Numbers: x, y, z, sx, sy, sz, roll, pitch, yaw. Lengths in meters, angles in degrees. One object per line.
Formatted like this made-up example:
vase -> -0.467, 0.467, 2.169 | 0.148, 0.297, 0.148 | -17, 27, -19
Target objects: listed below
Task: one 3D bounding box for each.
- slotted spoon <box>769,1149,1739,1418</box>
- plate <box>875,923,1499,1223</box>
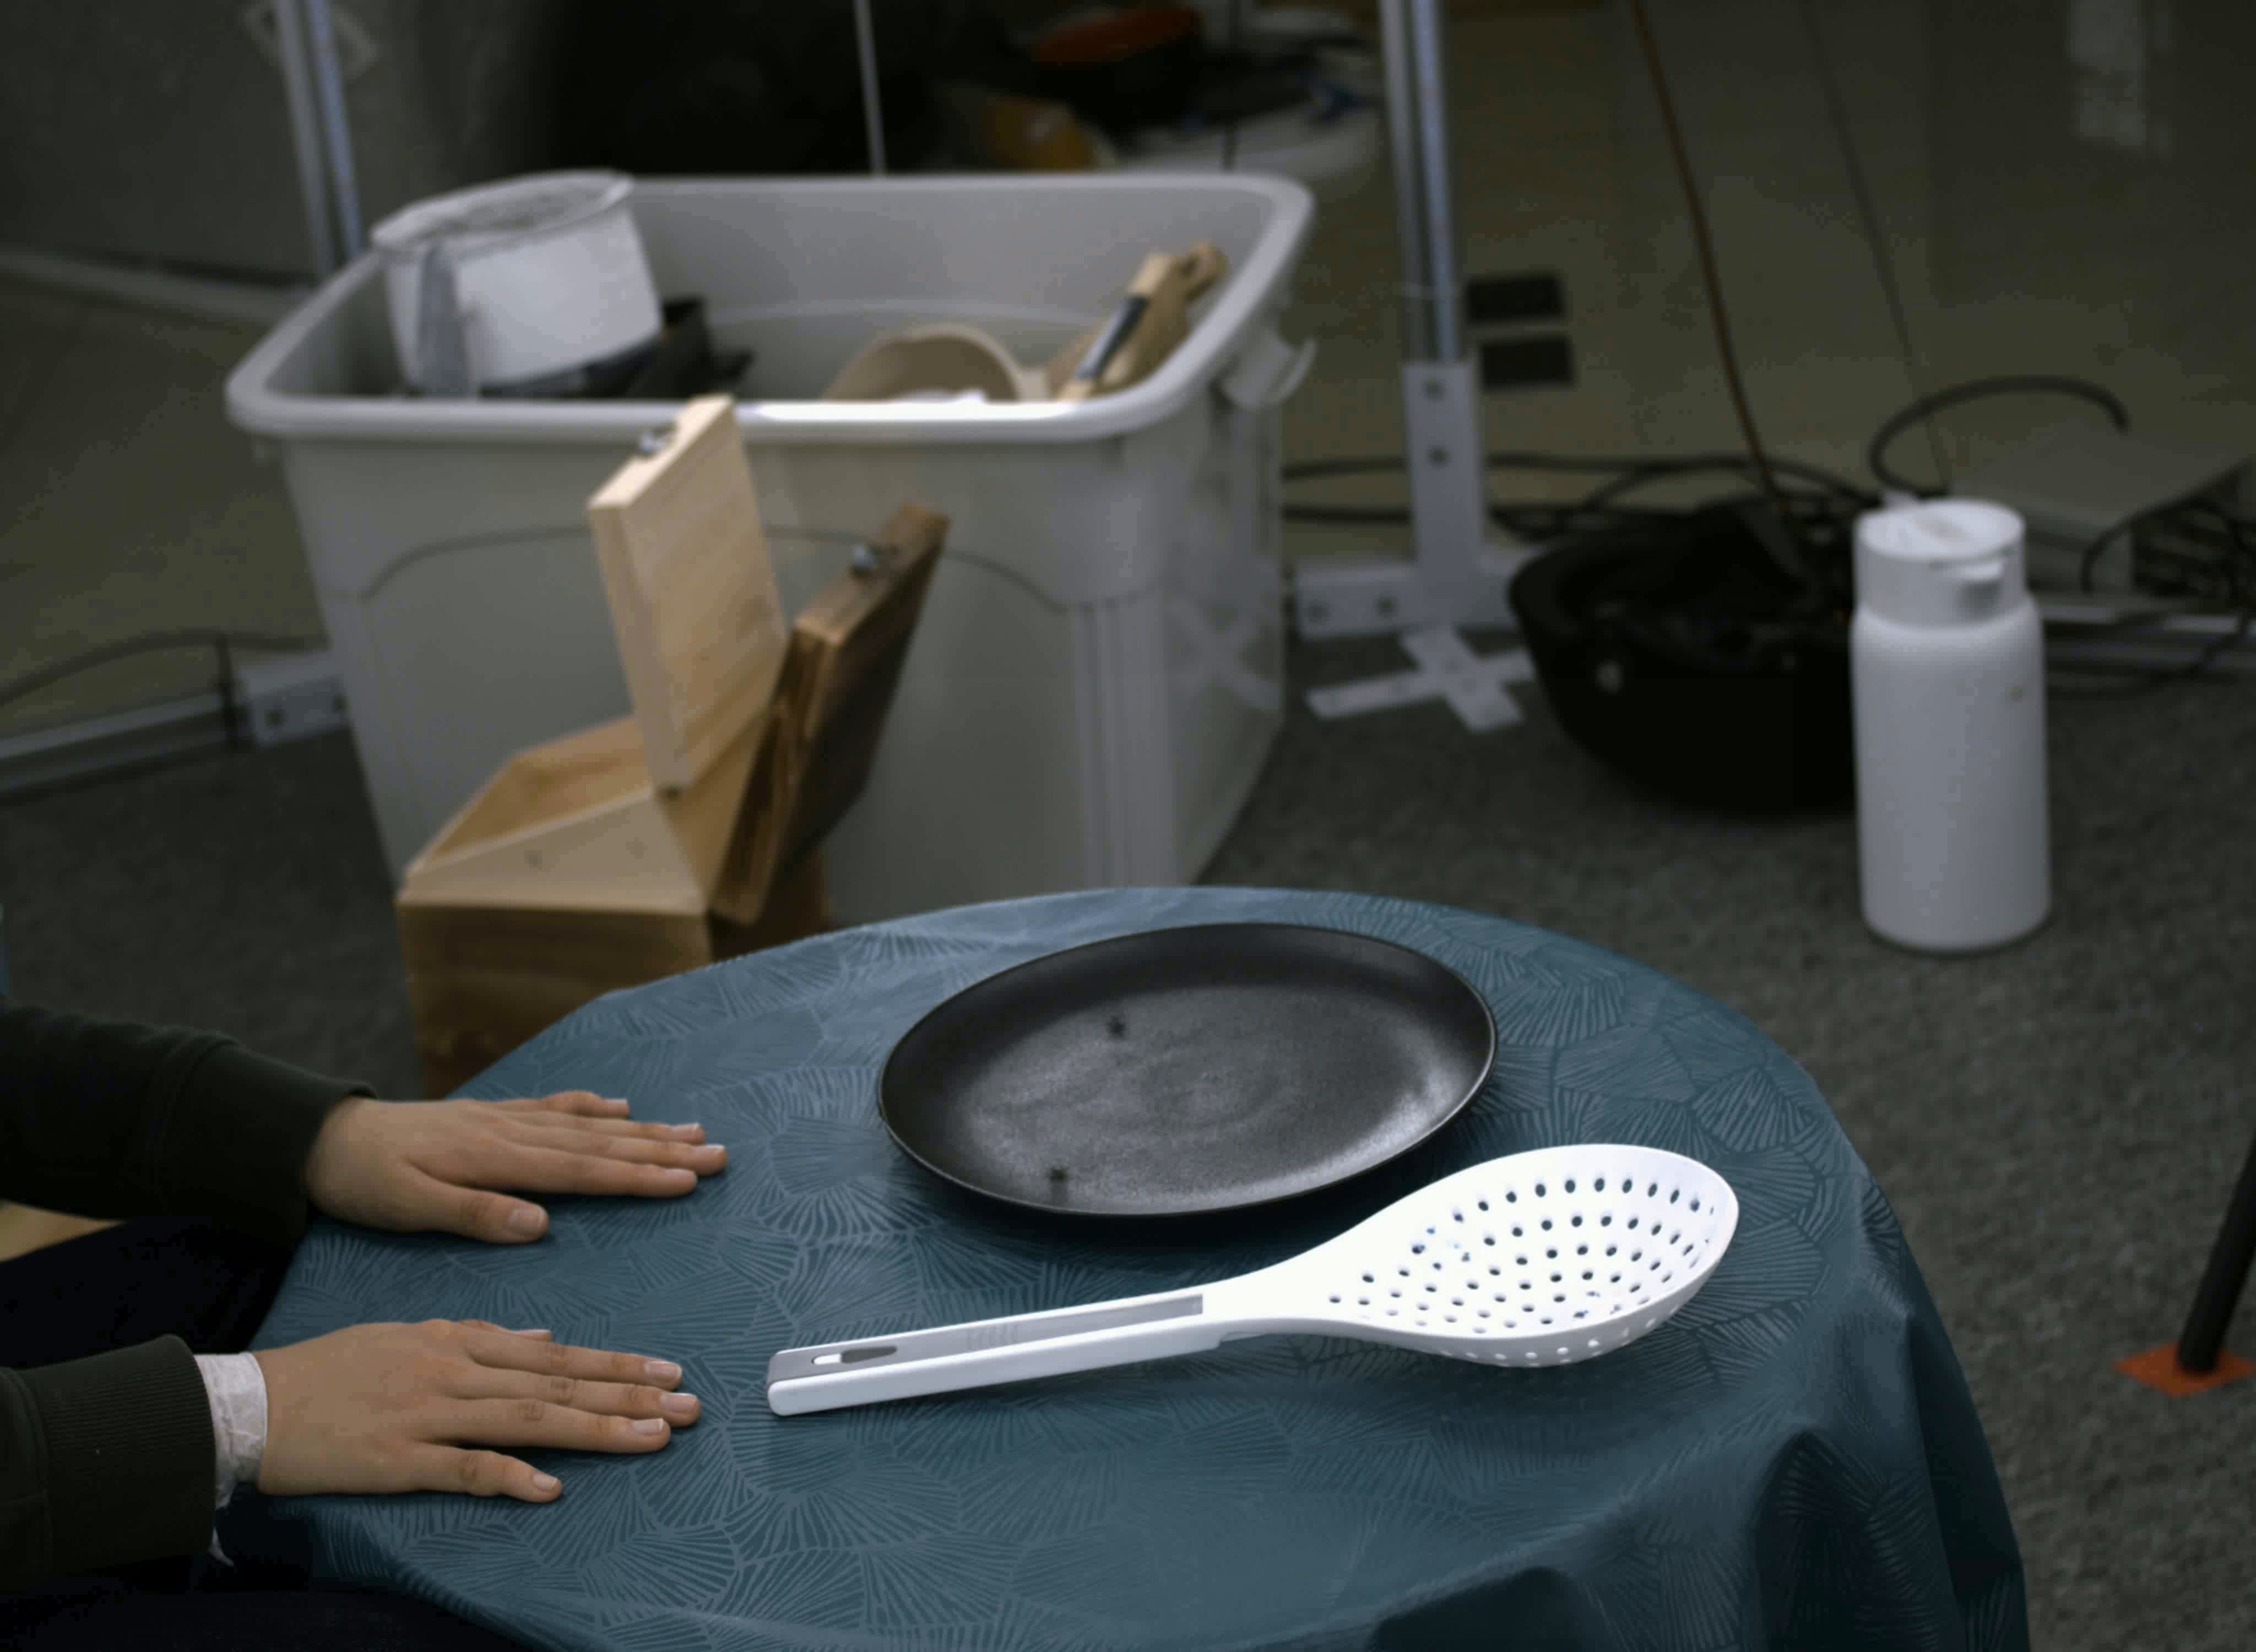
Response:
slotted spoon -> 0.043, 0.172, 2.018 | 0.349, 0.046, 0.134 | -6, 23, 4
plate -> 0.023, 0.101, 2.202 | 0.244, 0.024, 0.241 | -5, 25, 3
